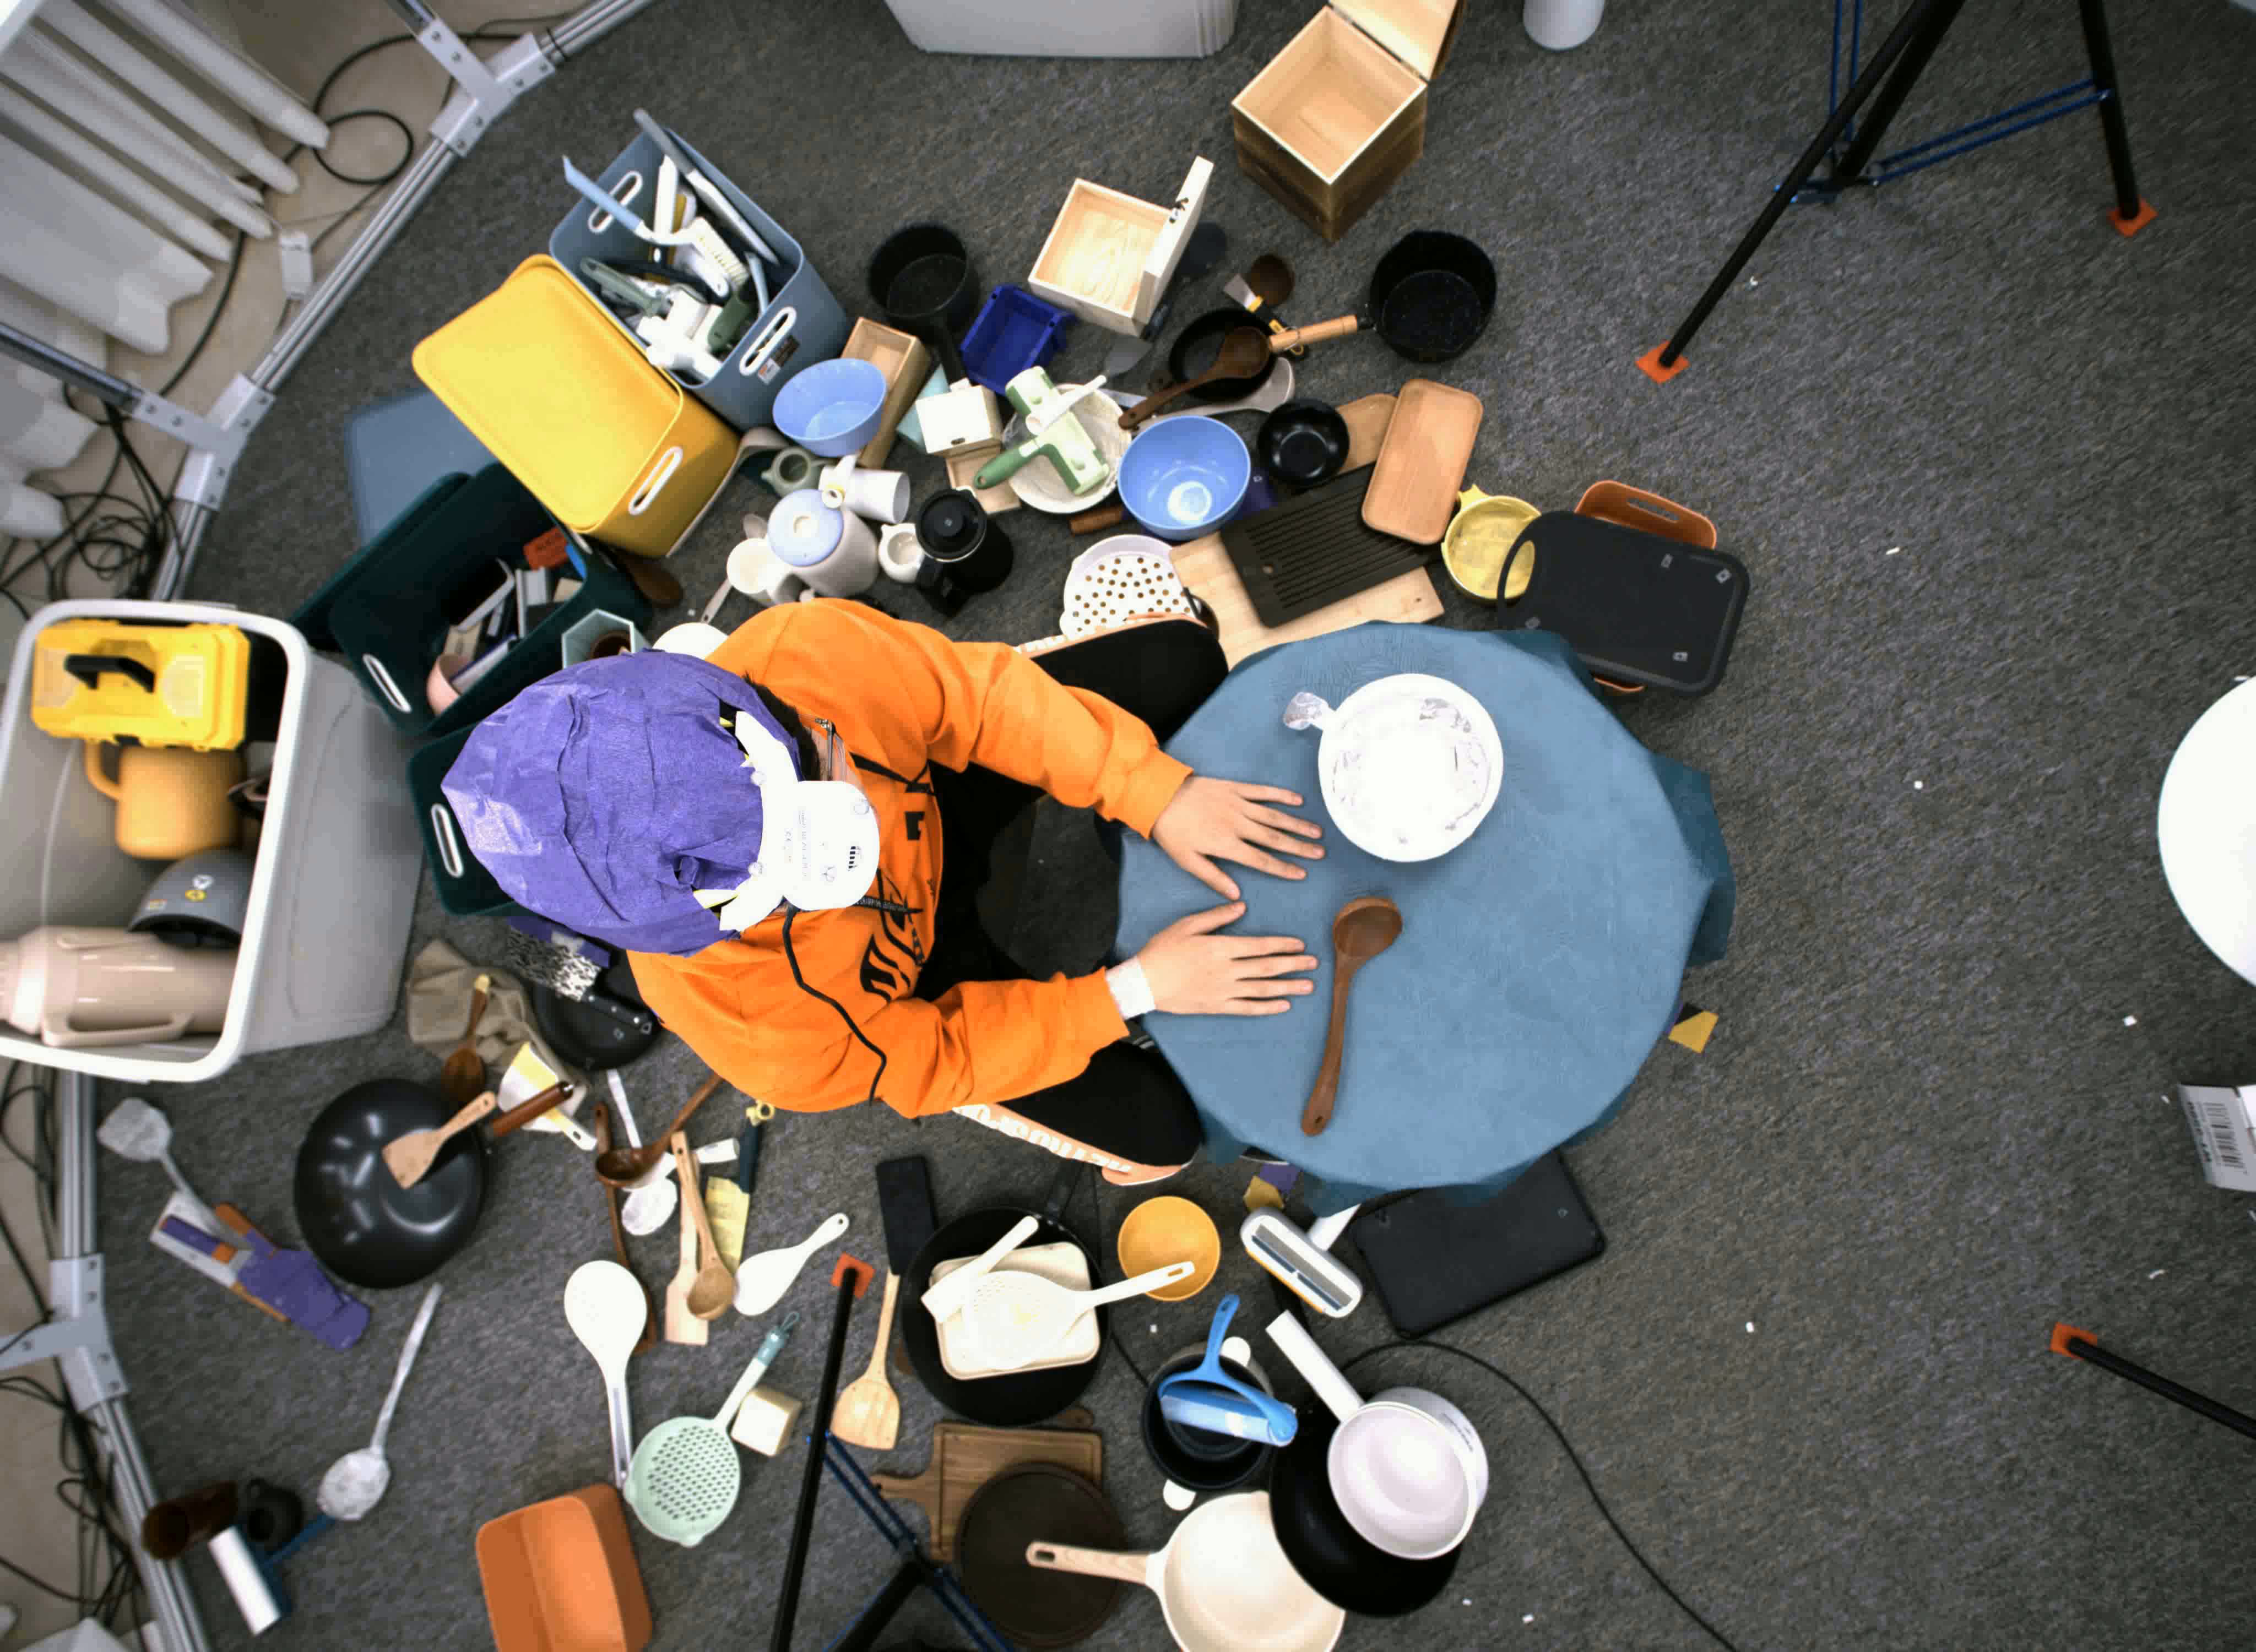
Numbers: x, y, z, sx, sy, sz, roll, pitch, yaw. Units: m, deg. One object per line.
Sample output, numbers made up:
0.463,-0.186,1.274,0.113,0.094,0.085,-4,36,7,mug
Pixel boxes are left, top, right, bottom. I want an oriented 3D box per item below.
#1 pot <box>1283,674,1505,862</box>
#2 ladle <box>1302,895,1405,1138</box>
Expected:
0.260,-0.070,1.400,0.233,0.137,0.179,31,91,10,pot
0.226,0.198,1.430,0.076,0.065,0.259,13,88,-15,ladle
